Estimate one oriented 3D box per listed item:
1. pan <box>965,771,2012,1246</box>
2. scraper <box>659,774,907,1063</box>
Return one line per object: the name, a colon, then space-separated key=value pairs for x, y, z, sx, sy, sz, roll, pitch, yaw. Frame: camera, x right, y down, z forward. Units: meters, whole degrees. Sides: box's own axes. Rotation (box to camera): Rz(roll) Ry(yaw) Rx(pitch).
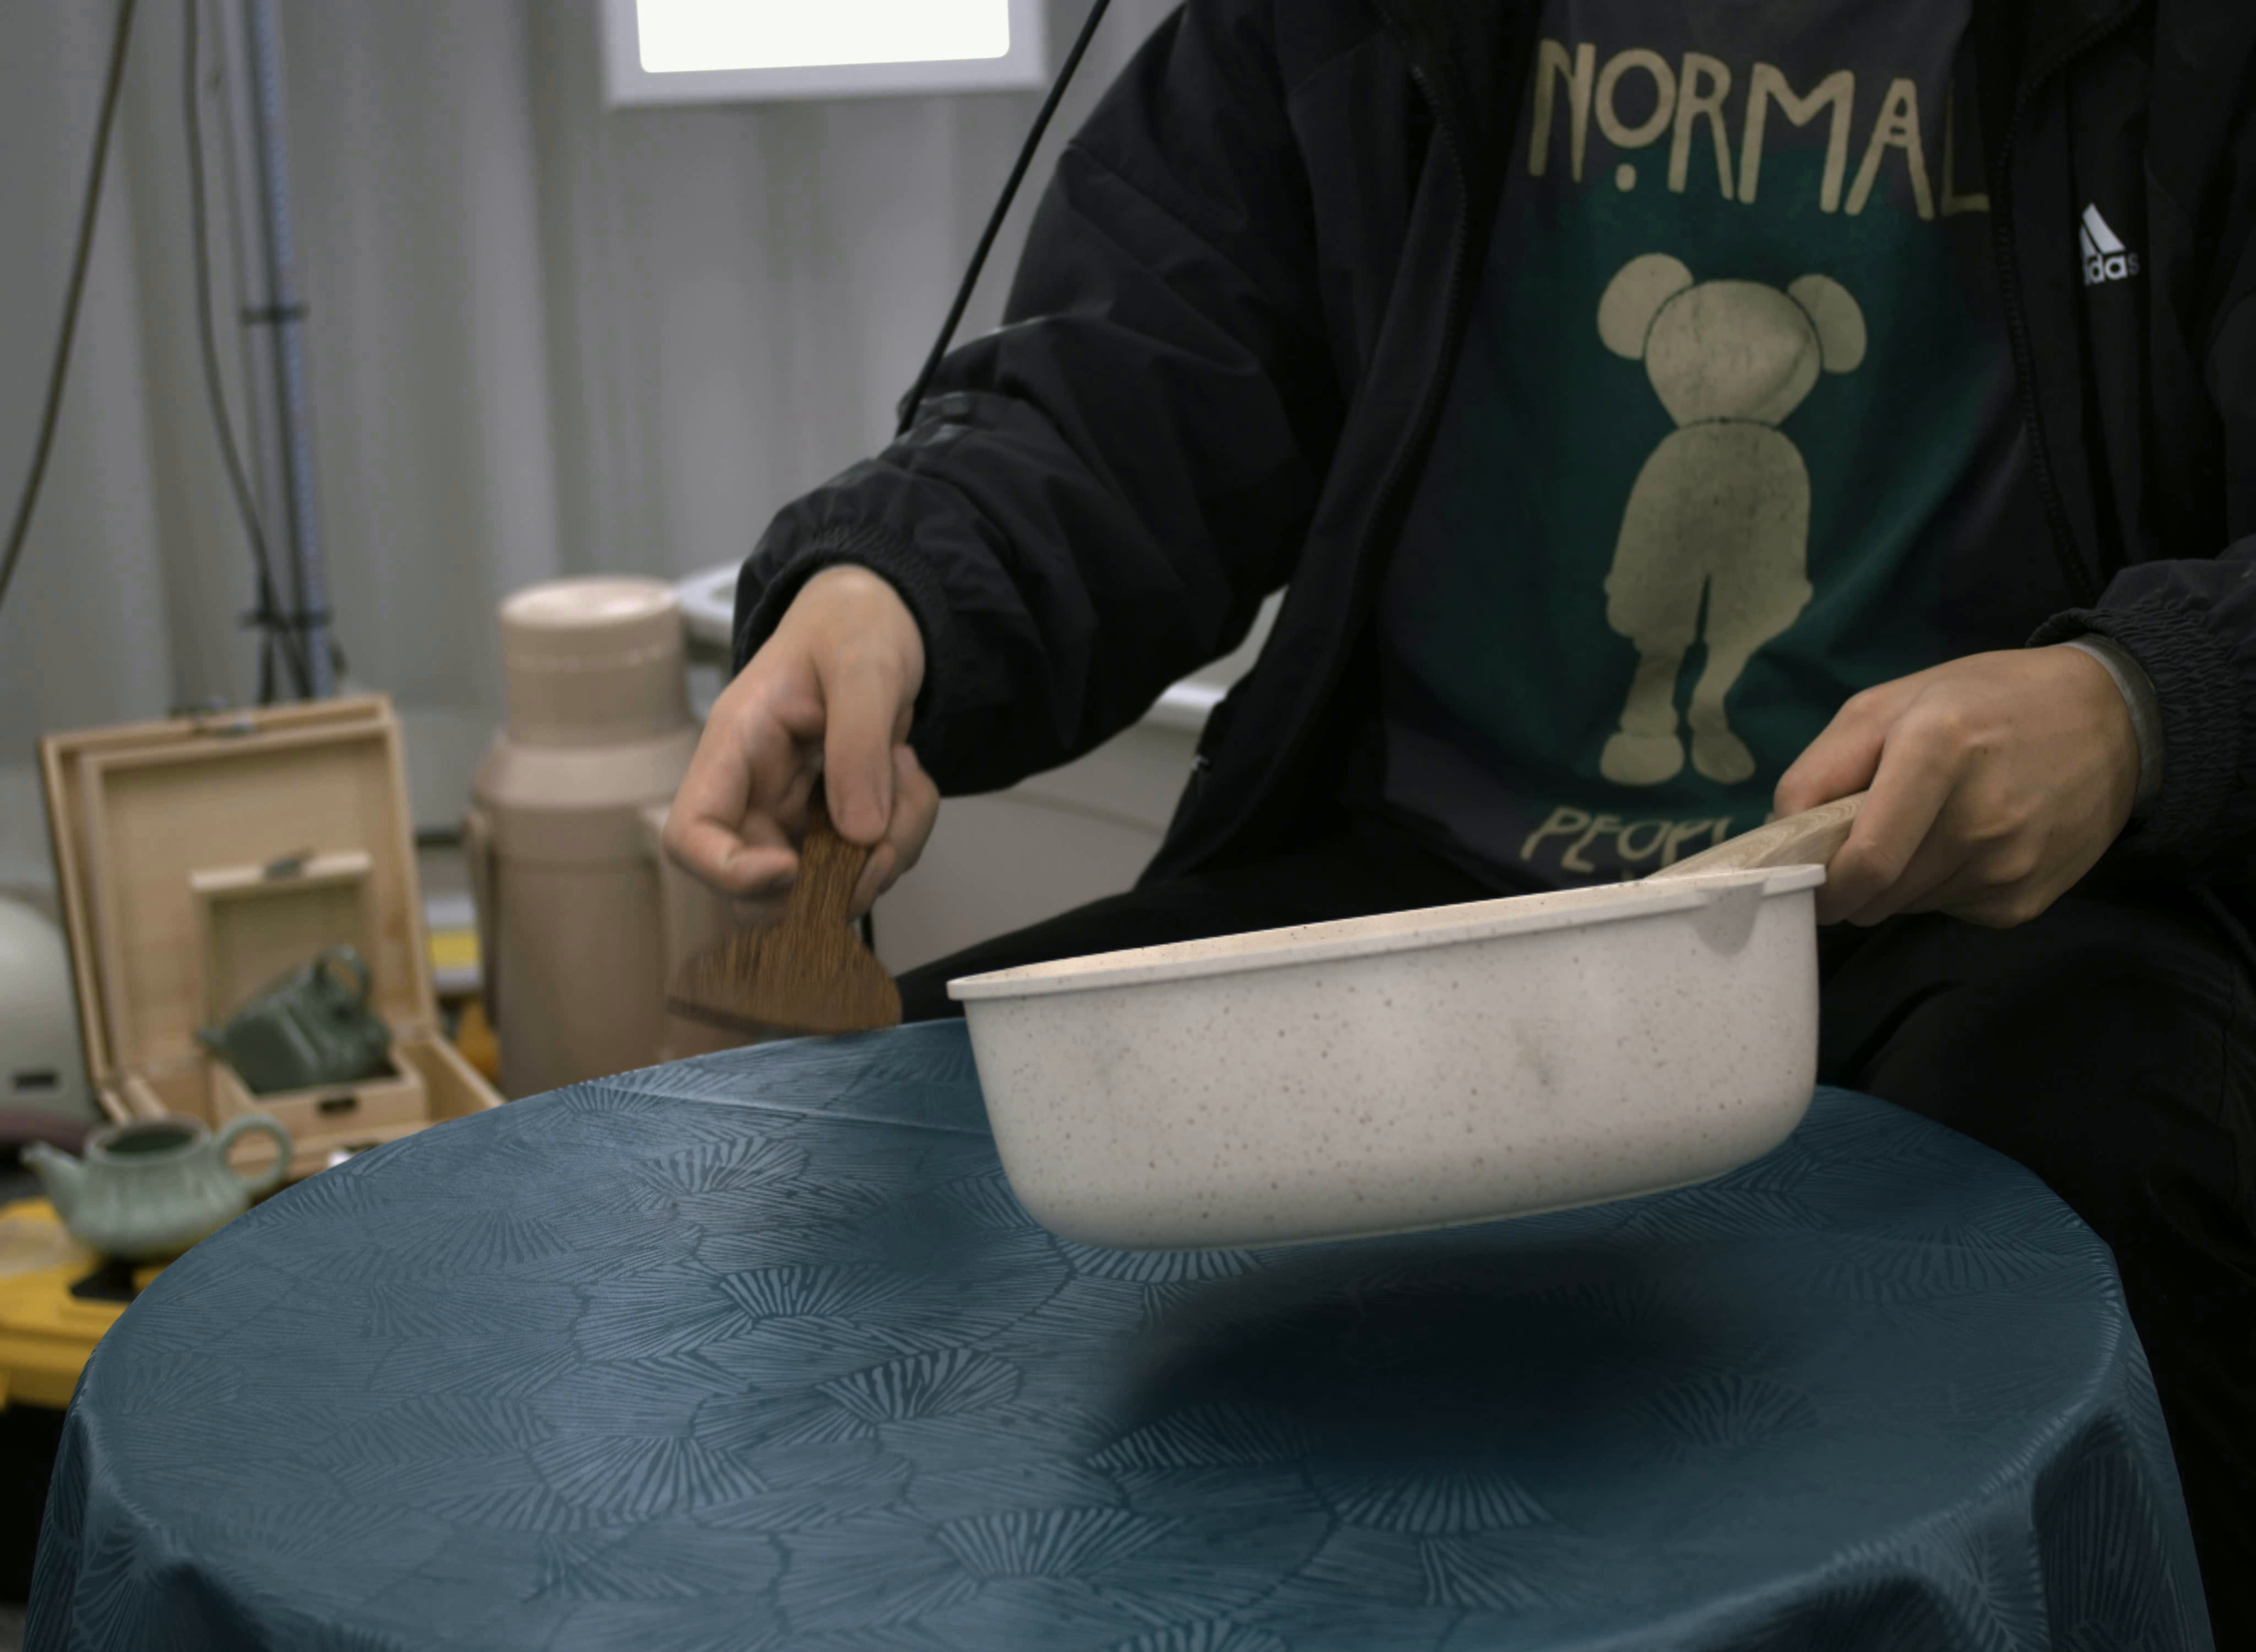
pan: x=0.143 y=0.050 z=1.614 sx=0.263 sy=0.102 sz=0.433 roll=-10 pitch=-2 yaw=43
scraper: x=-0.100 y=0.028 z=1.761 sx=0.075 sy=0.011 sz=0.213 roll=10 pitch=24 yaw=1
